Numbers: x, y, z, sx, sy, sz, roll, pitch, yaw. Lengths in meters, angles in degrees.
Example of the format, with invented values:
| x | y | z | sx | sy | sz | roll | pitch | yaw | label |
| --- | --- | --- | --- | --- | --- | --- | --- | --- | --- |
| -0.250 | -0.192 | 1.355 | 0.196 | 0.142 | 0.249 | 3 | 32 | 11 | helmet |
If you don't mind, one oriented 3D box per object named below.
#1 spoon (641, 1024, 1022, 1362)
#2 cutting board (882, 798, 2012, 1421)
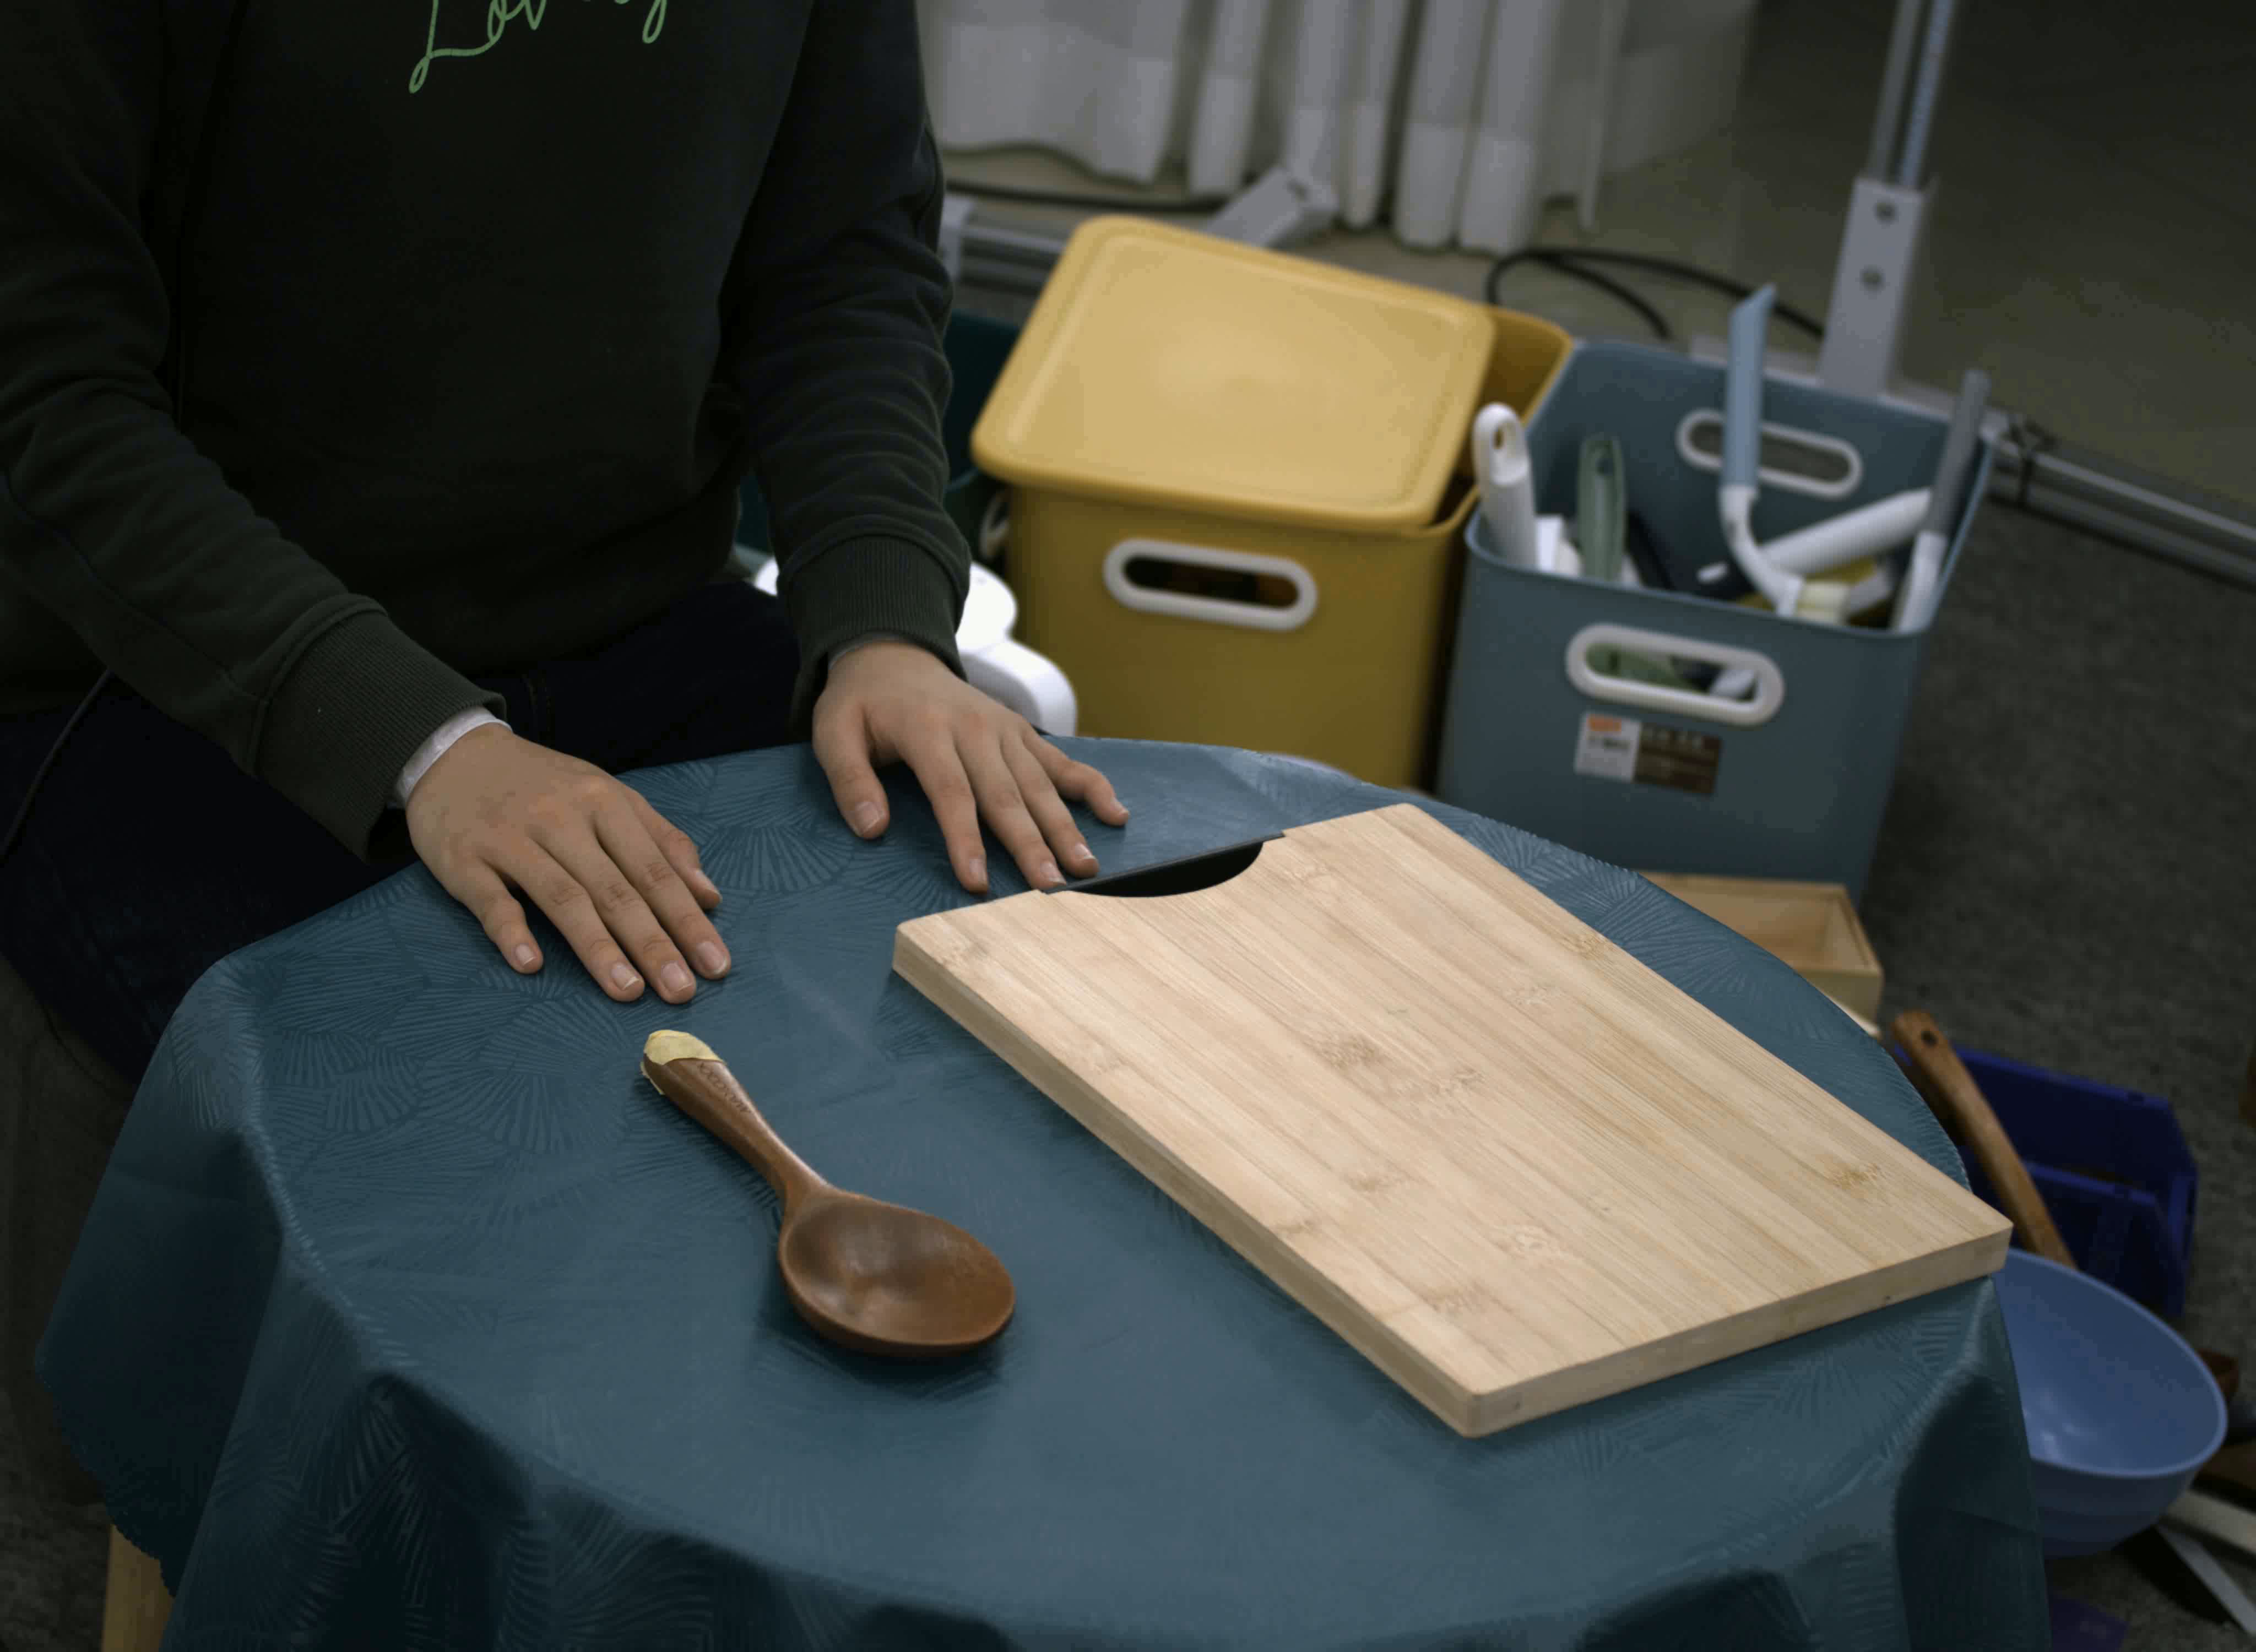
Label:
| x | y | z | sx | sy | sz | roll | pitch | yaw | label |
| --- | --- | --- | --- | --- | --- | --- | --- | --- | --- |
| -0.106 | 0.121 | 1.761 | 0.075 | 0.017 | 0.218 | -11 | 32 | -29 | spoon |
| 0.105 | 0.092 | 1.870 | 0.249 | 0.023 | 0.352 | -13 | 32 | -34 | cutting board |
